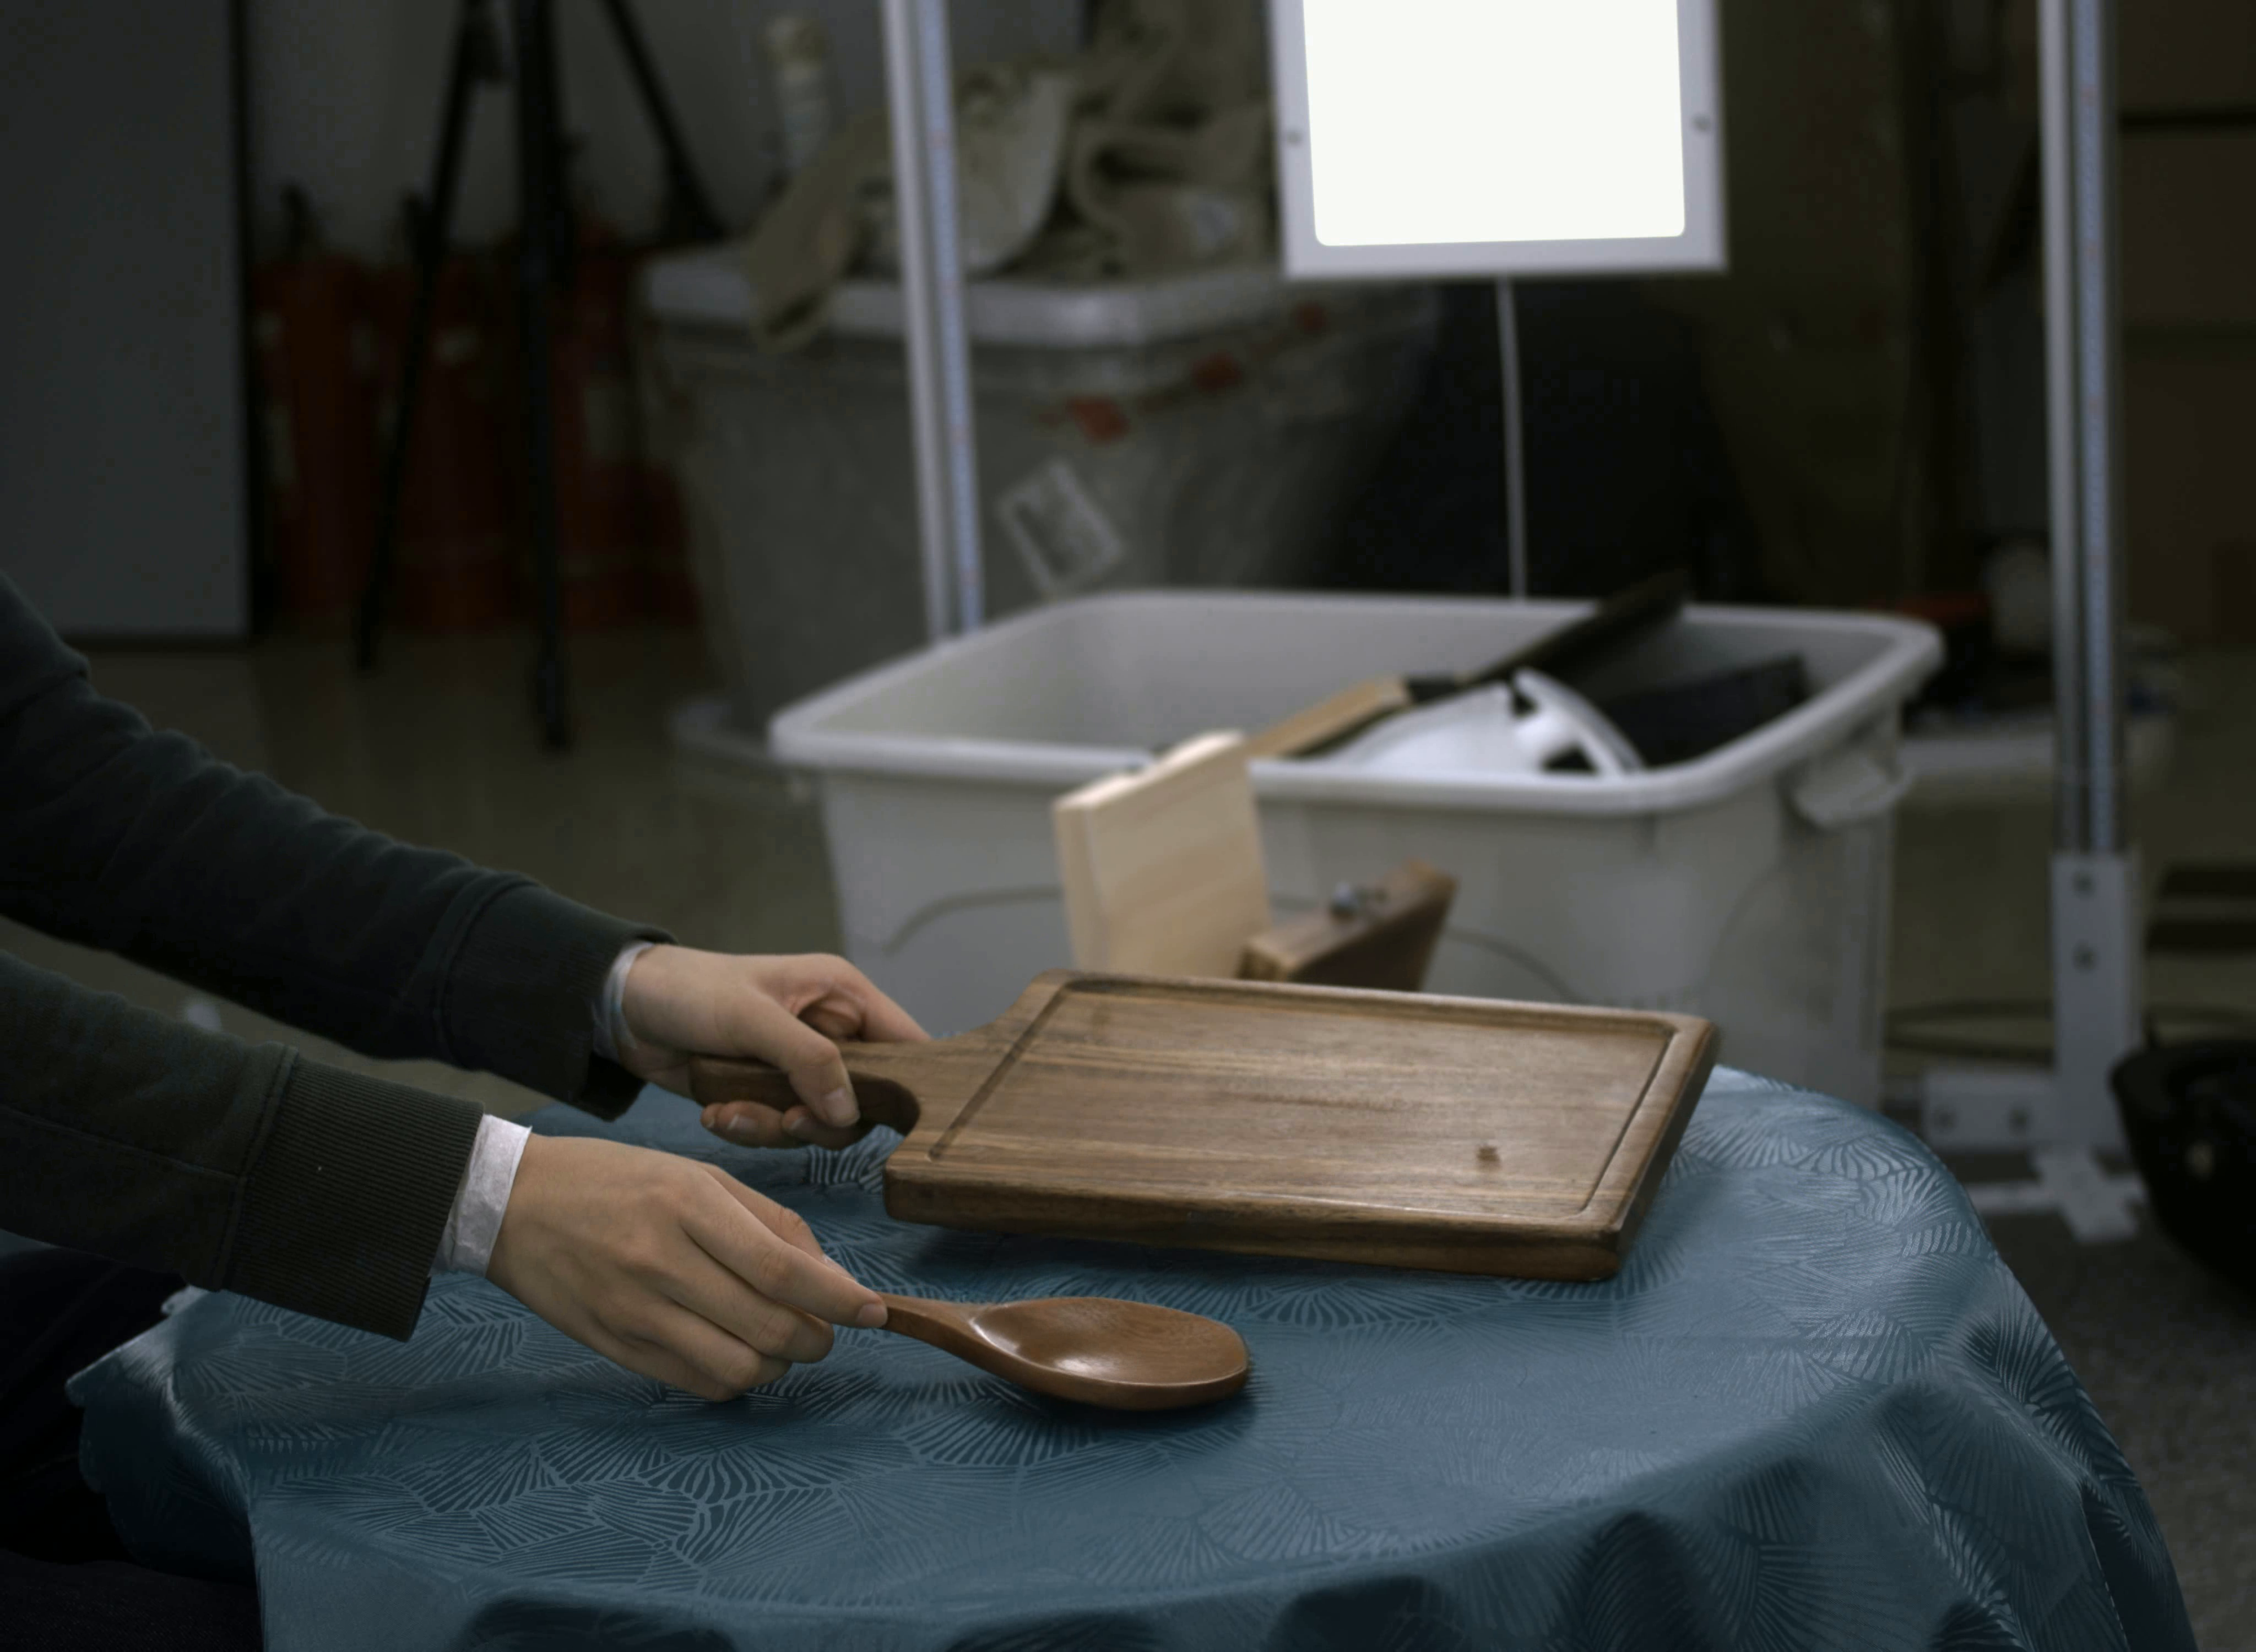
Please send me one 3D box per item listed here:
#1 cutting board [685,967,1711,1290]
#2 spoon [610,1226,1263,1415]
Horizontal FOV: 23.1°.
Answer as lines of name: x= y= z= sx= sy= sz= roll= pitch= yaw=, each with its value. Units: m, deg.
cutting board: x=0.015 y=0.097 z=1.896 sx=0.356 sy=0.023 sz=0.198 roll=3 pitch=22 yaw=17
spoon: x=-0.062 y=0.153 z=1.720 sx=0.218 sy=0.017 sz=0.074 roll=11 pitch=19 yaw=19
